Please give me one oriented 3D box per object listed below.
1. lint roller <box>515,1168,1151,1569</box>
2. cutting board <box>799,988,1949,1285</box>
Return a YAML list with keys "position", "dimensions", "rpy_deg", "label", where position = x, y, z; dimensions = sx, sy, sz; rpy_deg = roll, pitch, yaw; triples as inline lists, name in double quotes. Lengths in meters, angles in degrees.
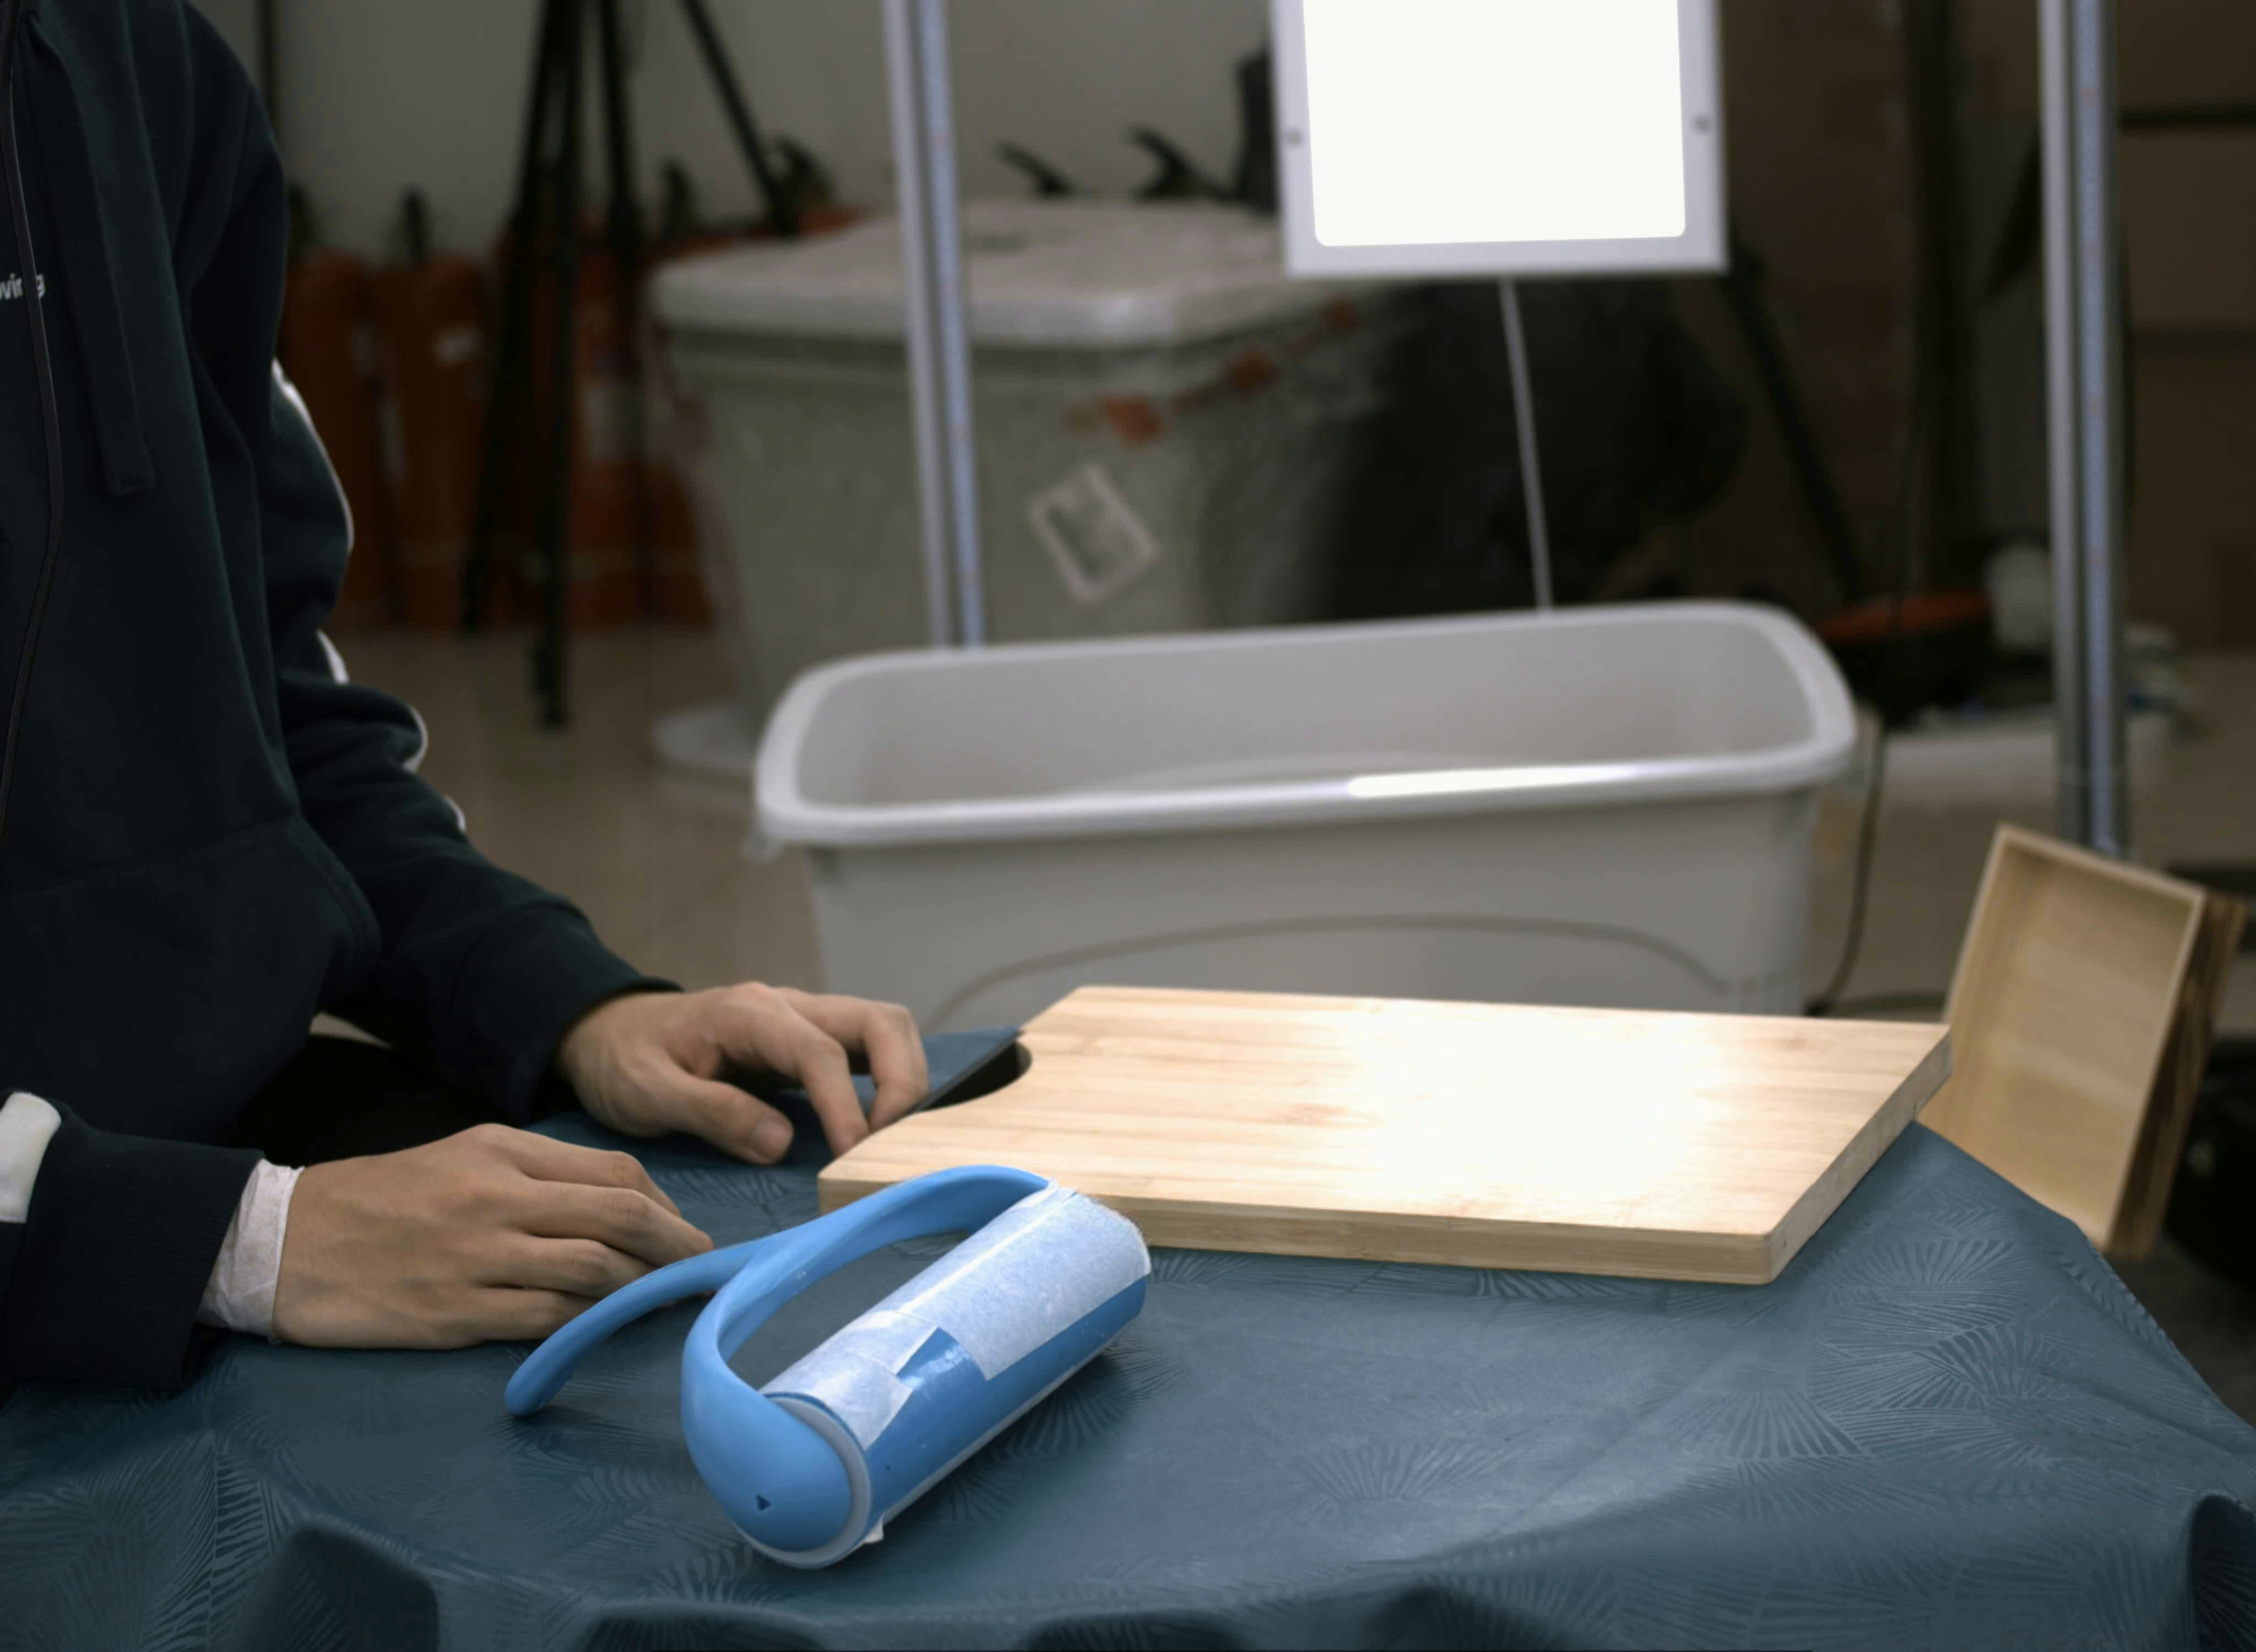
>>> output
- position: [-0.110, 0.160, 1.678]
  dimensions: [0.183, 0.068, 0.224]
  rpy_deg: [2, 17, 23]
  label: "lint roller"
- position: [0.090, 0.105, 1.918]
  dimensions: [0.354, 0.023, 0.246]
  rpy_deg: [1, 15, 24]
  label: "cutting board"
